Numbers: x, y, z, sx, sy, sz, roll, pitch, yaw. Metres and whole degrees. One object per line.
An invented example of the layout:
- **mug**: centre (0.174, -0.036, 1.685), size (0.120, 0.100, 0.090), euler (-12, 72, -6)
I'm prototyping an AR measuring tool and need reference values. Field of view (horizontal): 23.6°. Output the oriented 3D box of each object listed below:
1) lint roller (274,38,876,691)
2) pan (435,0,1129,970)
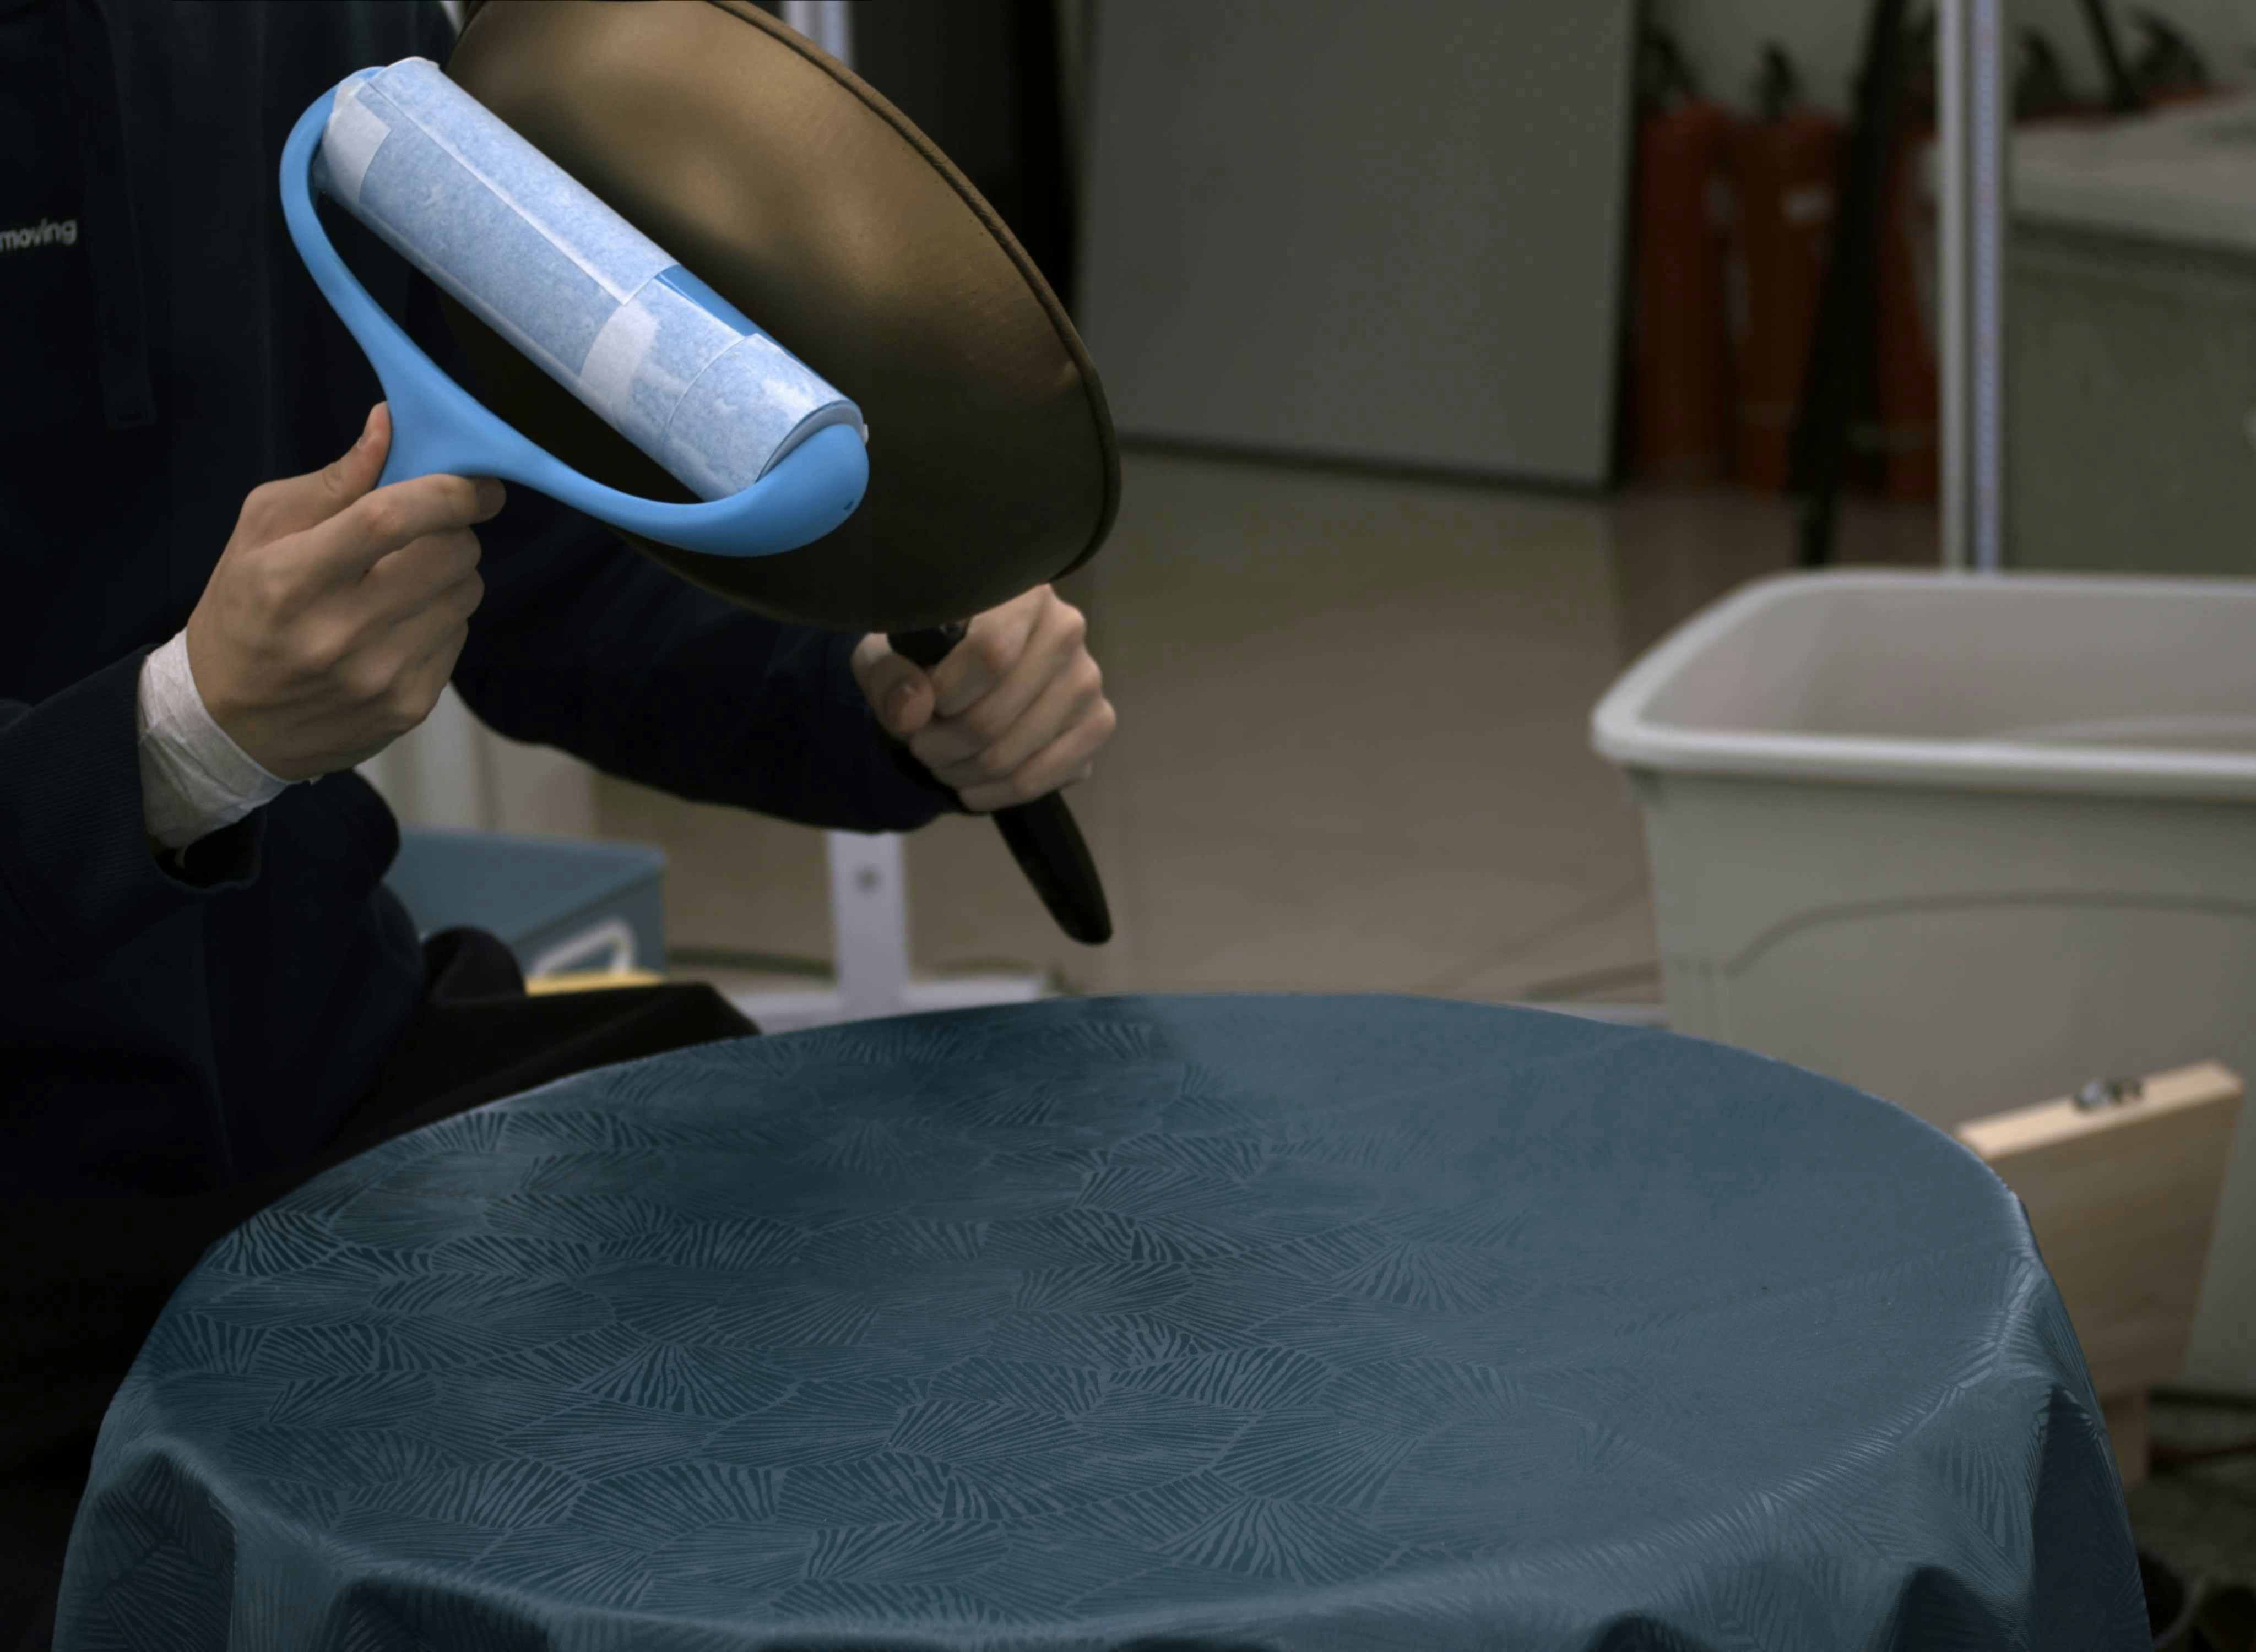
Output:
- **lint roller**: centre (-0.202, -0.122, 1.693), size (0.230, 0.181, 0.067), euler (35, 4, 19)
- **pan**: centre (-0.109, -0.096, 1.858), size (0.291, 0.462, 0.086), euler (18, 55, 41)
